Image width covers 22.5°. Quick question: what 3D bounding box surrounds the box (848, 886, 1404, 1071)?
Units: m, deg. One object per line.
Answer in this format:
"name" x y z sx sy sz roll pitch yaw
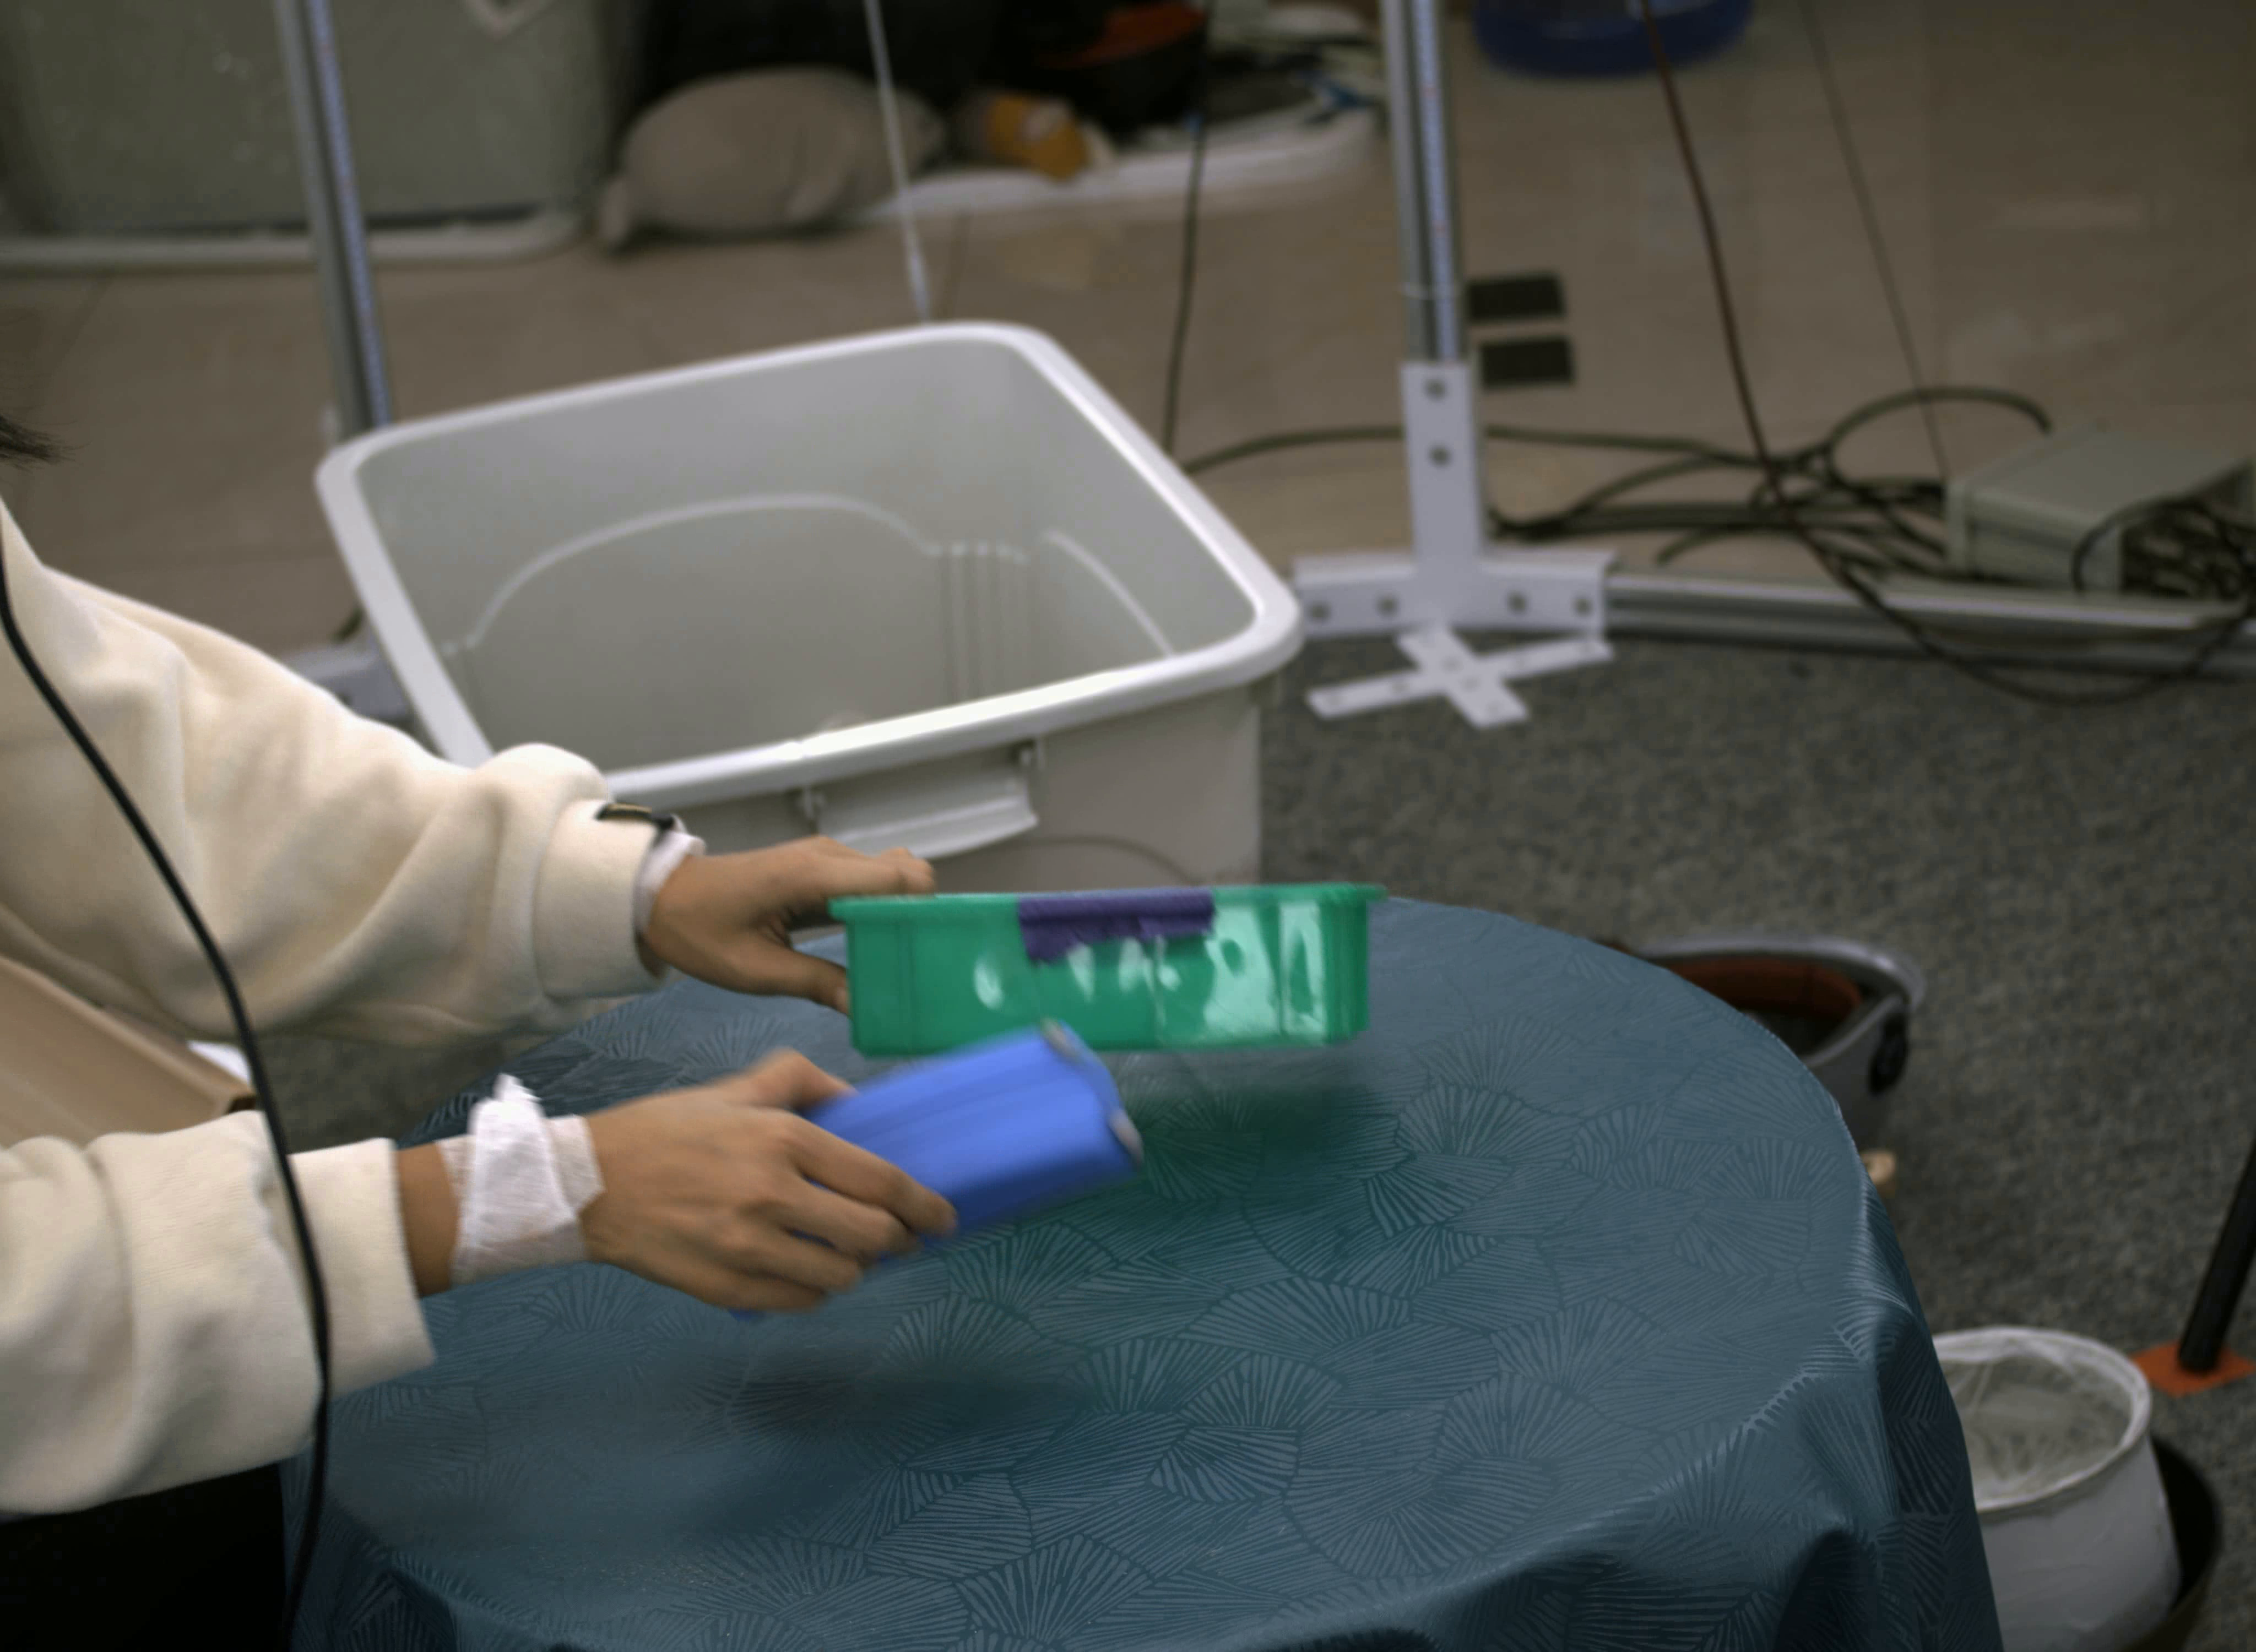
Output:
"box" 0.001 0.058 2.175 0.210 0.065 0.138 -1 3 5

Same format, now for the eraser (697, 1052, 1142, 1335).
"eraser" -0.076 0.129 2.012 0.162 0.048 0.053 -20 60 11
